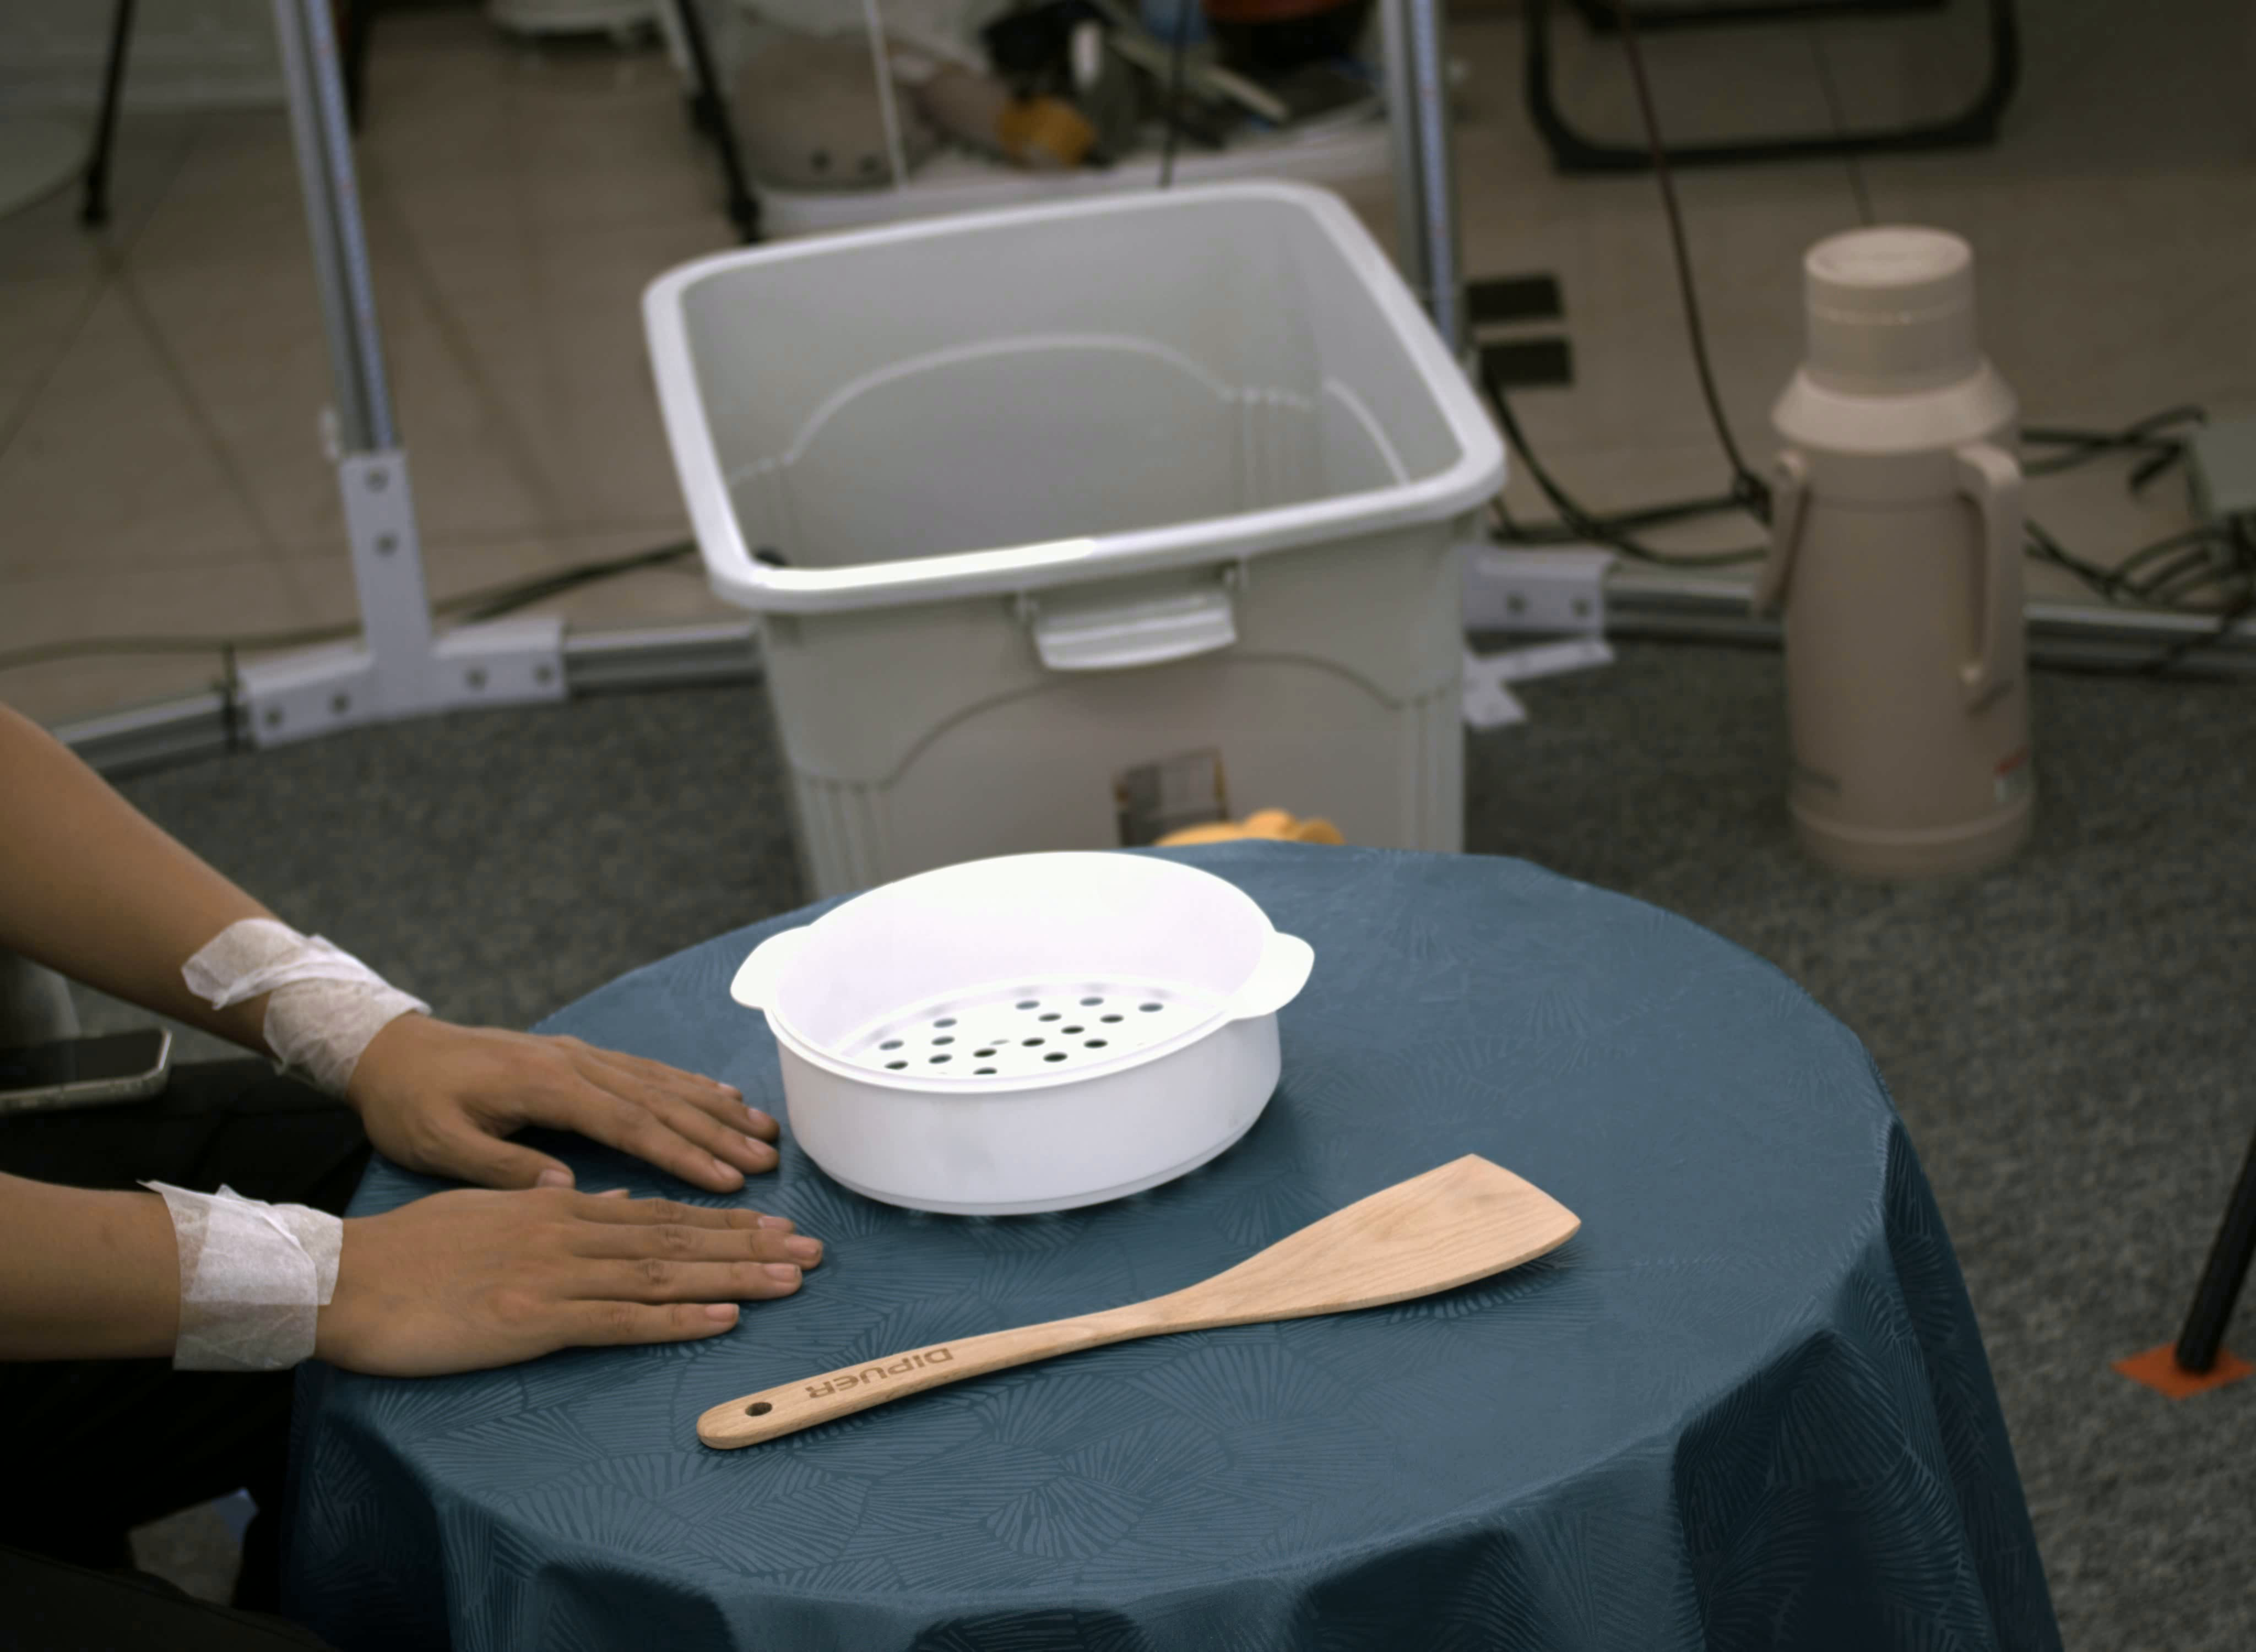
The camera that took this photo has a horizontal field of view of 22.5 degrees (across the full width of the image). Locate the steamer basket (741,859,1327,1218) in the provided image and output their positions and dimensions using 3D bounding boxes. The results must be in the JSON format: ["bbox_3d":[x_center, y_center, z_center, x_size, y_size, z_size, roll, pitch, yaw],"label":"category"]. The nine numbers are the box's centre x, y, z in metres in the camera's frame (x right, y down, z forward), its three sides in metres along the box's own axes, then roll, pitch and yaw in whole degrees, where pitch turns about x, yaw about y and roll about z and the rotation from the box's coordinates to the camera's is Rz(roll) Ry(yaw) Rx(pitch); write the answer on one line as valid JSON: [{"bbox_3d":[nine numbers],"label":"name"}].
[{"bbox_3d":[-0.034,0.082,2.202,0.230,0.070,0.199,1,24,16],"label":"steamer basket"}]

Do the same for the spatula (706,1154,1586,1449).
[{"bbox_3d":[0.004,0.174,2.054,0.326,0.017,0.079,-14,25,-14],"label":"spatula"}]
